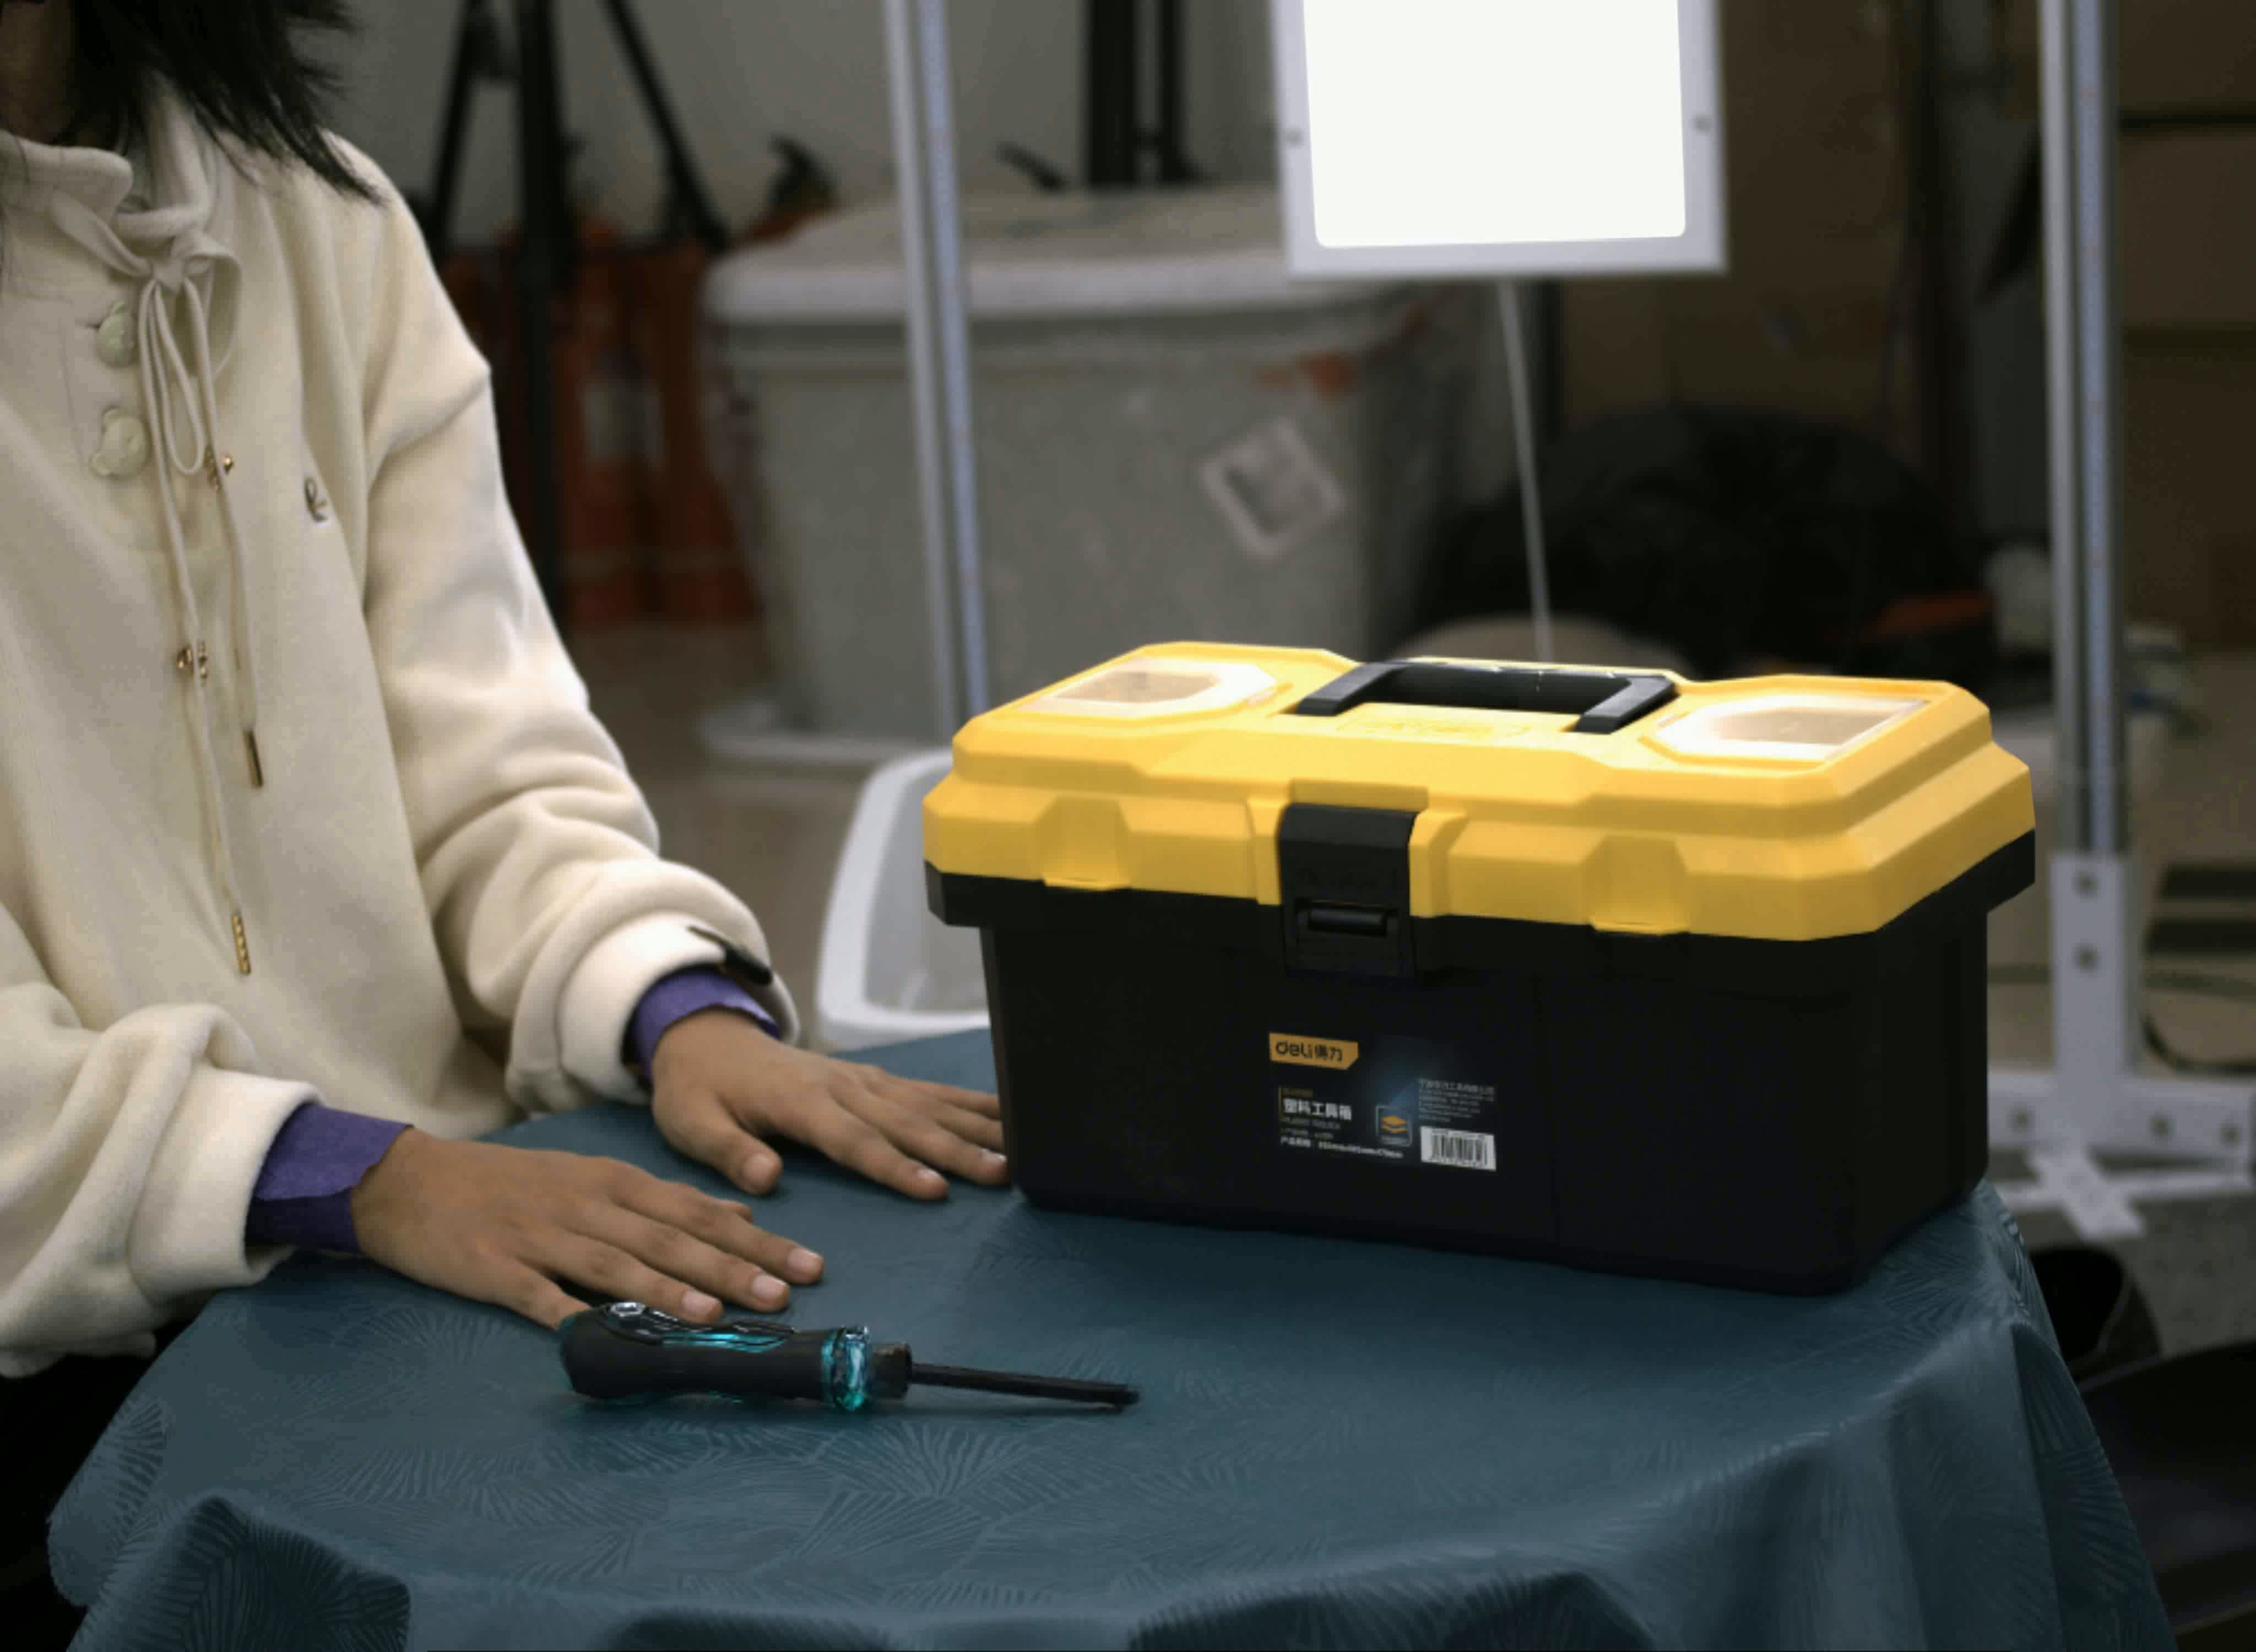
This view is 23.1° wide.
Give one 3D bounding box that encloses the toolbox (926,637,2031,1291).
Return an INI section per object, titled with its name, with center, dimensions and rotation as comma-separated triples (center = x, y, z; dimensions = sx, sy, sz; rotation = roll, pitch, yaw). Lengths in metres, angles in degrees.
[toolbox]
center = 0.116, 0.041, 1.837
dimensions = 0.358, 0.173, 0.177
rotation = 4, 16, 33

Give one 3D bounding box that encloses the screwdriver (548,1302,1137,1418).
[screwdriver]
center = -0.089, 0.170, 1.709
dimensions = 0.192, 0.034, 0.033
rotation = 4, 15, 16
